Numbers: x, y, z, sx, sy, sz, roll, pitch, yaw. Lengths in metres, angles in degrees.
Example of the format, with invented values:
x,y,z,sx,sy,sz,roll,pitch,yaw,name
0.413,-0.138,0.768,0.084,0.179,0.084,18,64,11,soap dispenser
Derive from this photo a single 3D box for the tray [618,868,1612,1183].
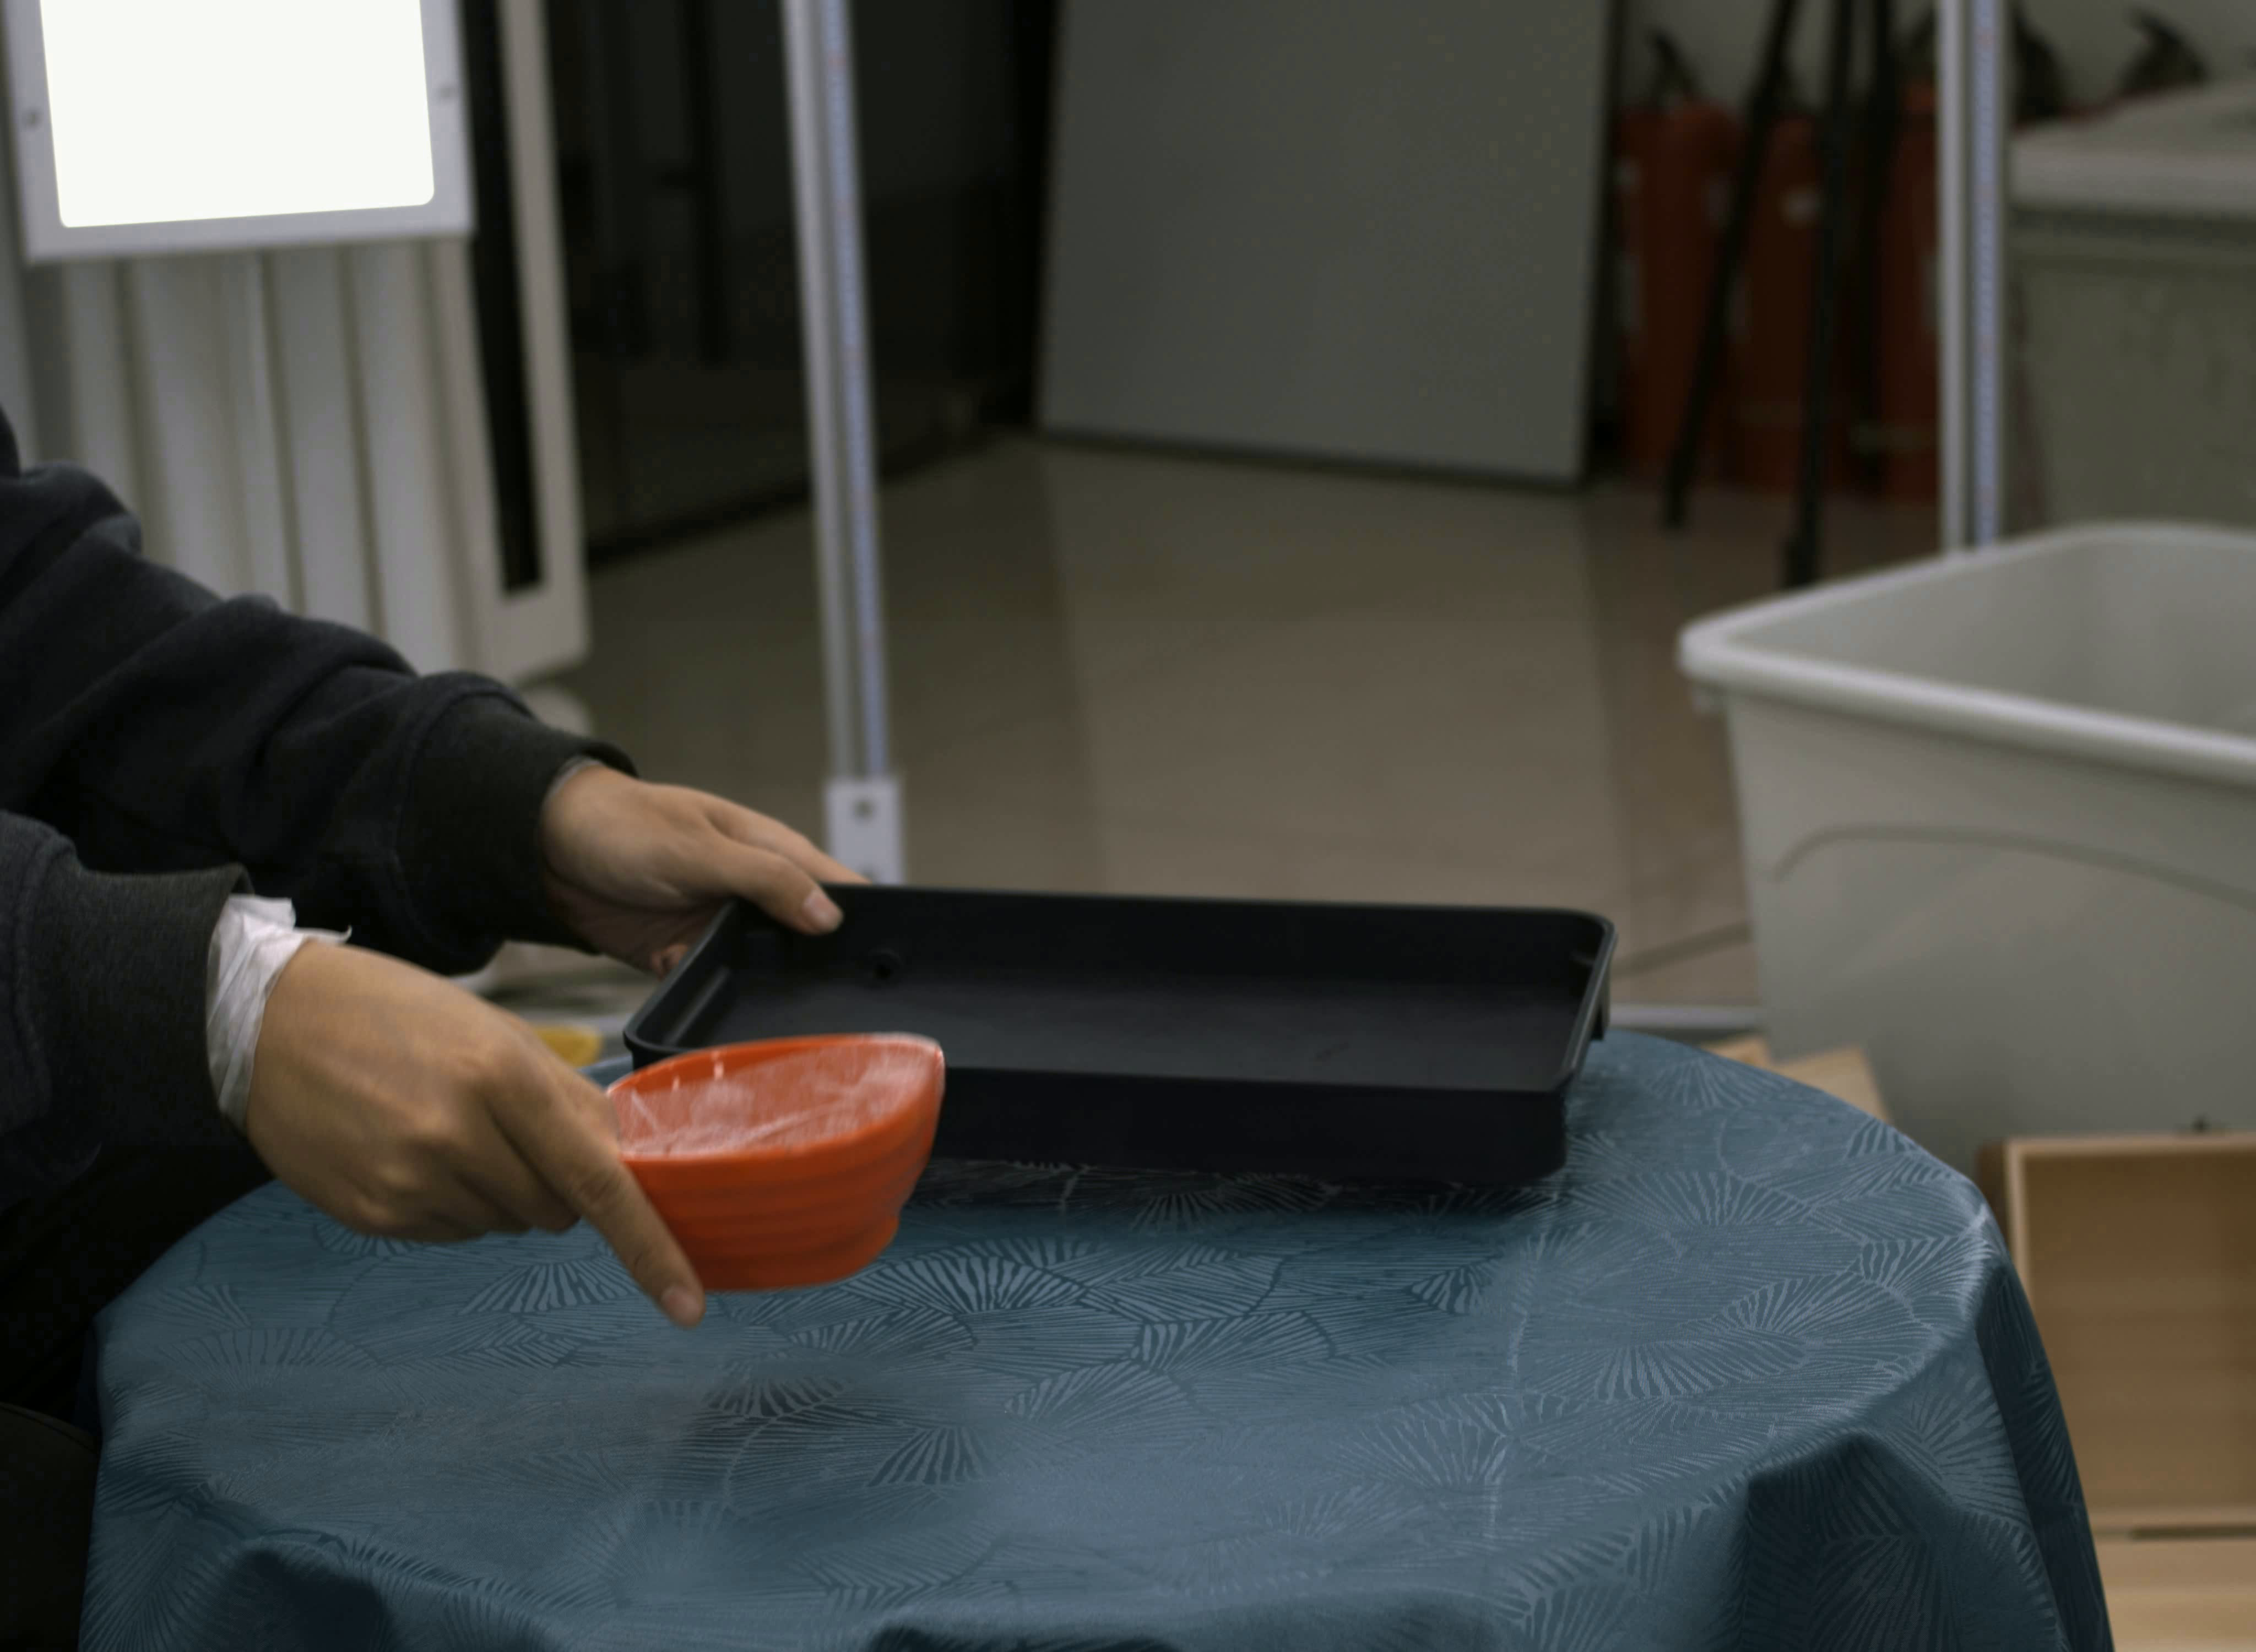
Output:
x,y,z,sx,sy,sz,roll,pitch,yaw,name
-0.001,0.065,1.815,0.316,0.037,0.183,3,17,12,tray

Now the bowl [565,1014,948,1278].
x,y,z,sx,sy,sz,roll,pitch,yaw,name
-0.105,0.096,1.584,0.117,0.052,0.119,-8,15,1,bowl
